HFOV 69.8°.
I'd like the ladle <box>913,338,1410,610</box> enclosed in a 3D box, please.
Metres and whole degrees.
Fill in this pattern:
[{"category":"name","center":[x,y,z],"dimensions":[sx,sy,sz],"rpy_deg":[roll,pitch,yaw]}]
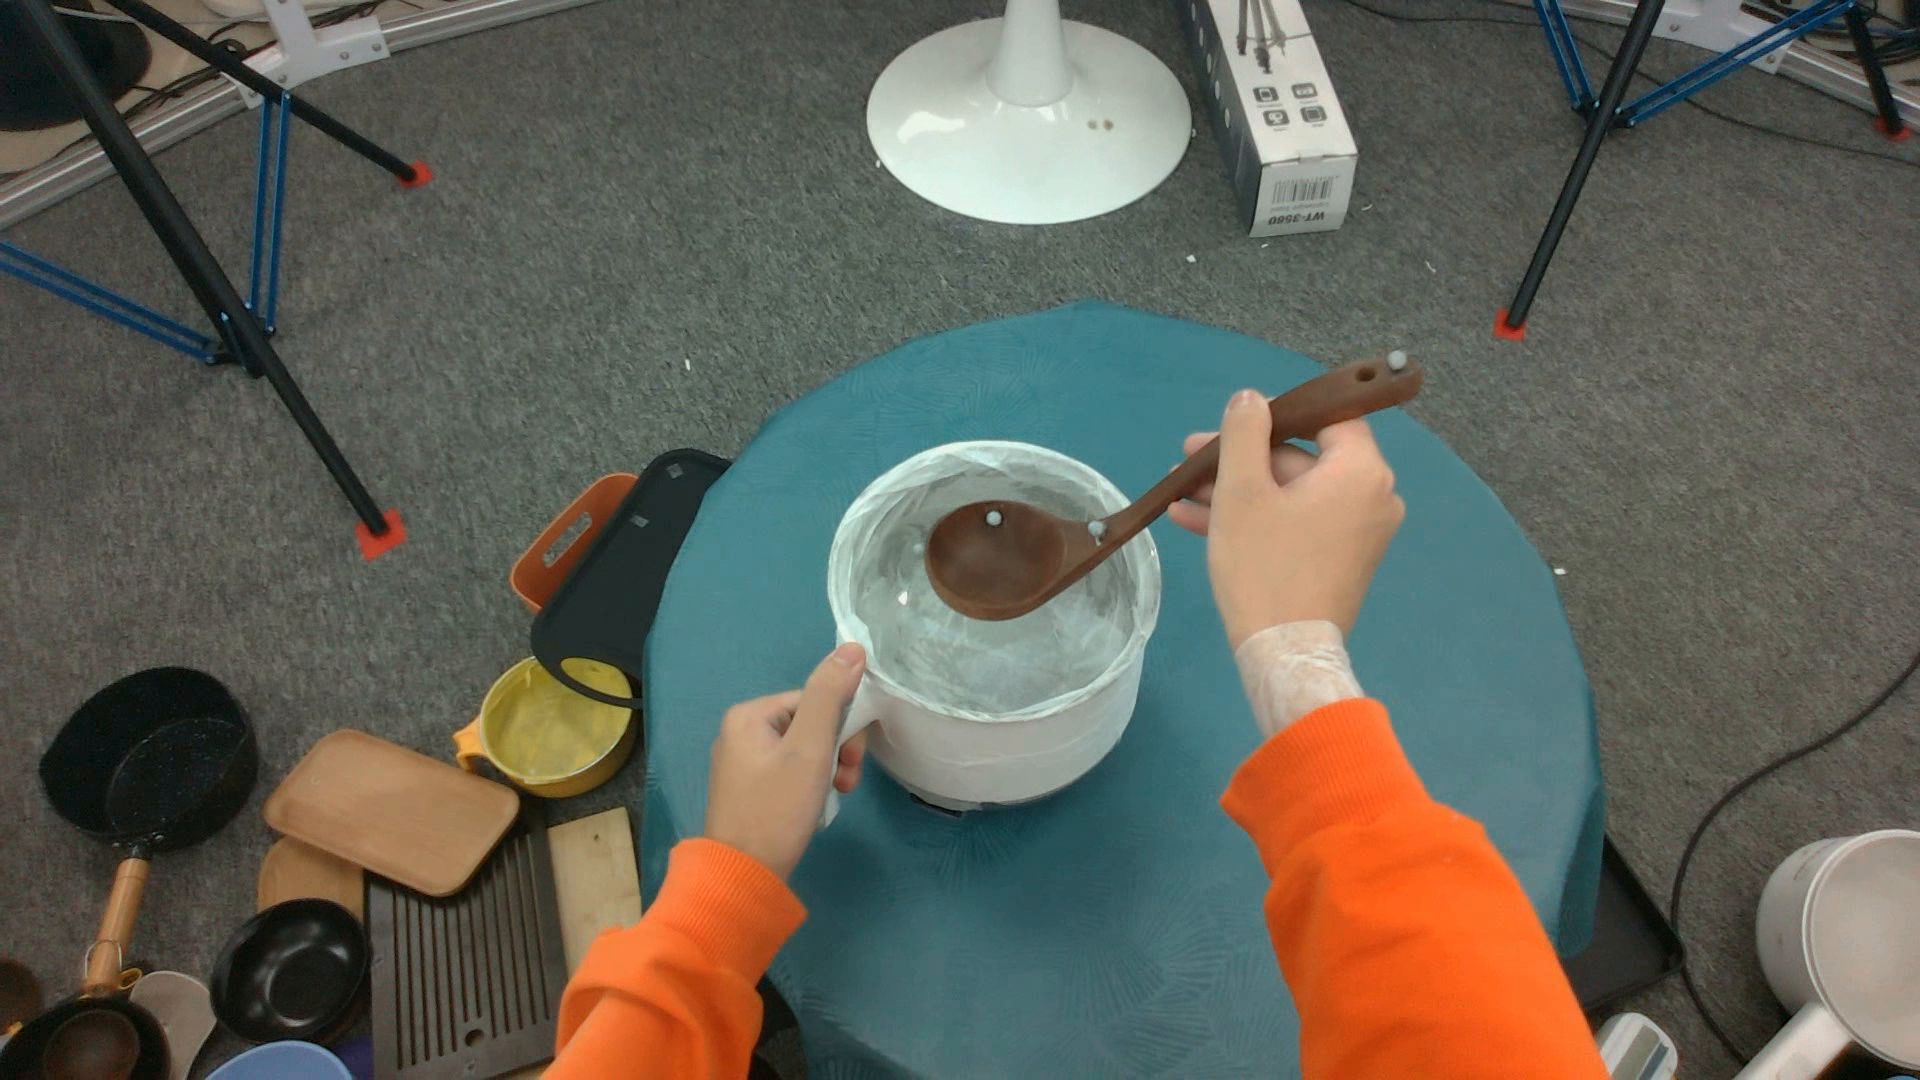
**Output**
[{"category":"ladle","center":[0.087,-0.038,0.665],"dimensions":[0.259,0.065,0.077],"rpy_deg":[-30,46,30]}]

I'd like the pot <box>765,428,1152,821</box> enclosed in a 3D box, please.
[{"category":"pot","center":[-0.009,0.061,0.764],"dimensions":[0.234,0.136,0.179],"rpy_deg":[-37,63,-23]}]
